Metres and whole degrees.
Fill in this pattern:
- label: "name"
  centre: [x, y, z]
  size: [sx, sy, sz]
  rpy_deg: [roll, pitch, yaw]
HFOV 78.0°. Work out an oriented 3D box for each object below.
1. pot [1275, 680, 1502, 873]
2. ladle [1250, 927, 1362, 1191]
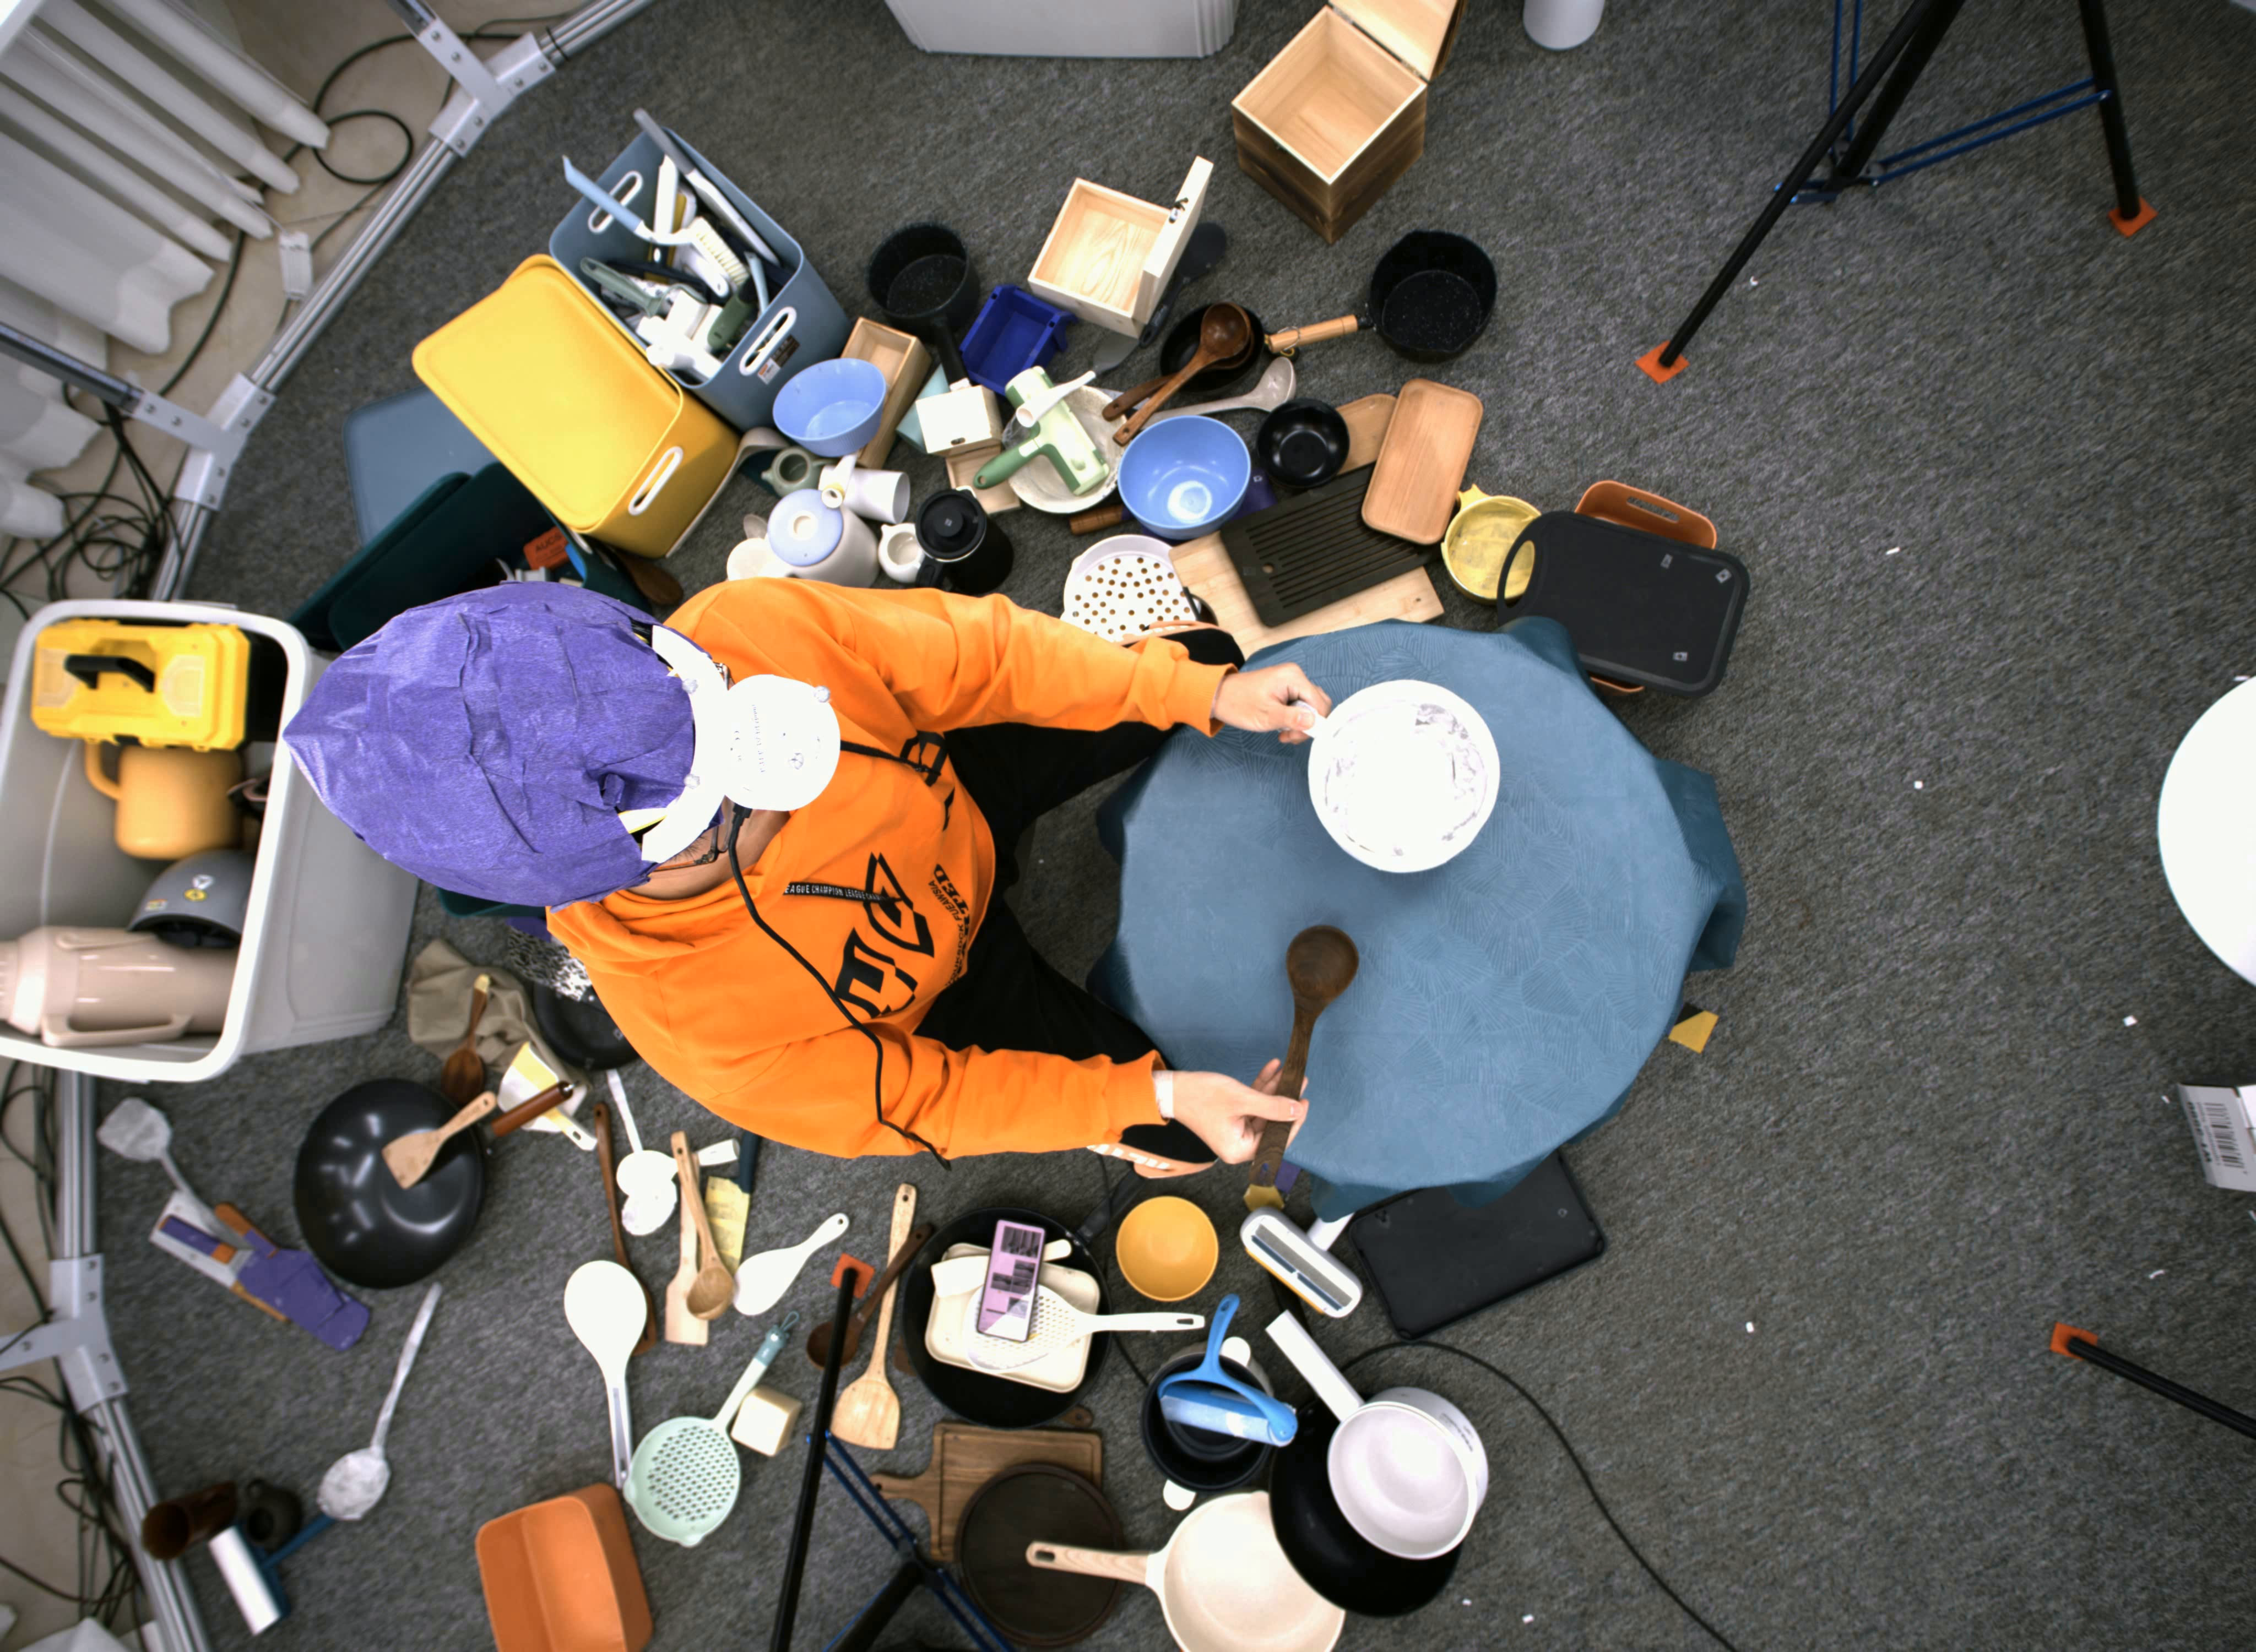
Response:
- label: "pot"
  centre: [0.246, -0.059, 1.351]
  size: [0.233, 0.136, 0.179]
  rpy_deg: [31, 93, 11]
- label: "ladle"
  centre: [0.169, 0.218, 1.351]
  size: [0.076, 0.073, 0.267]
  rpy_deg: [18, 53, 5]
